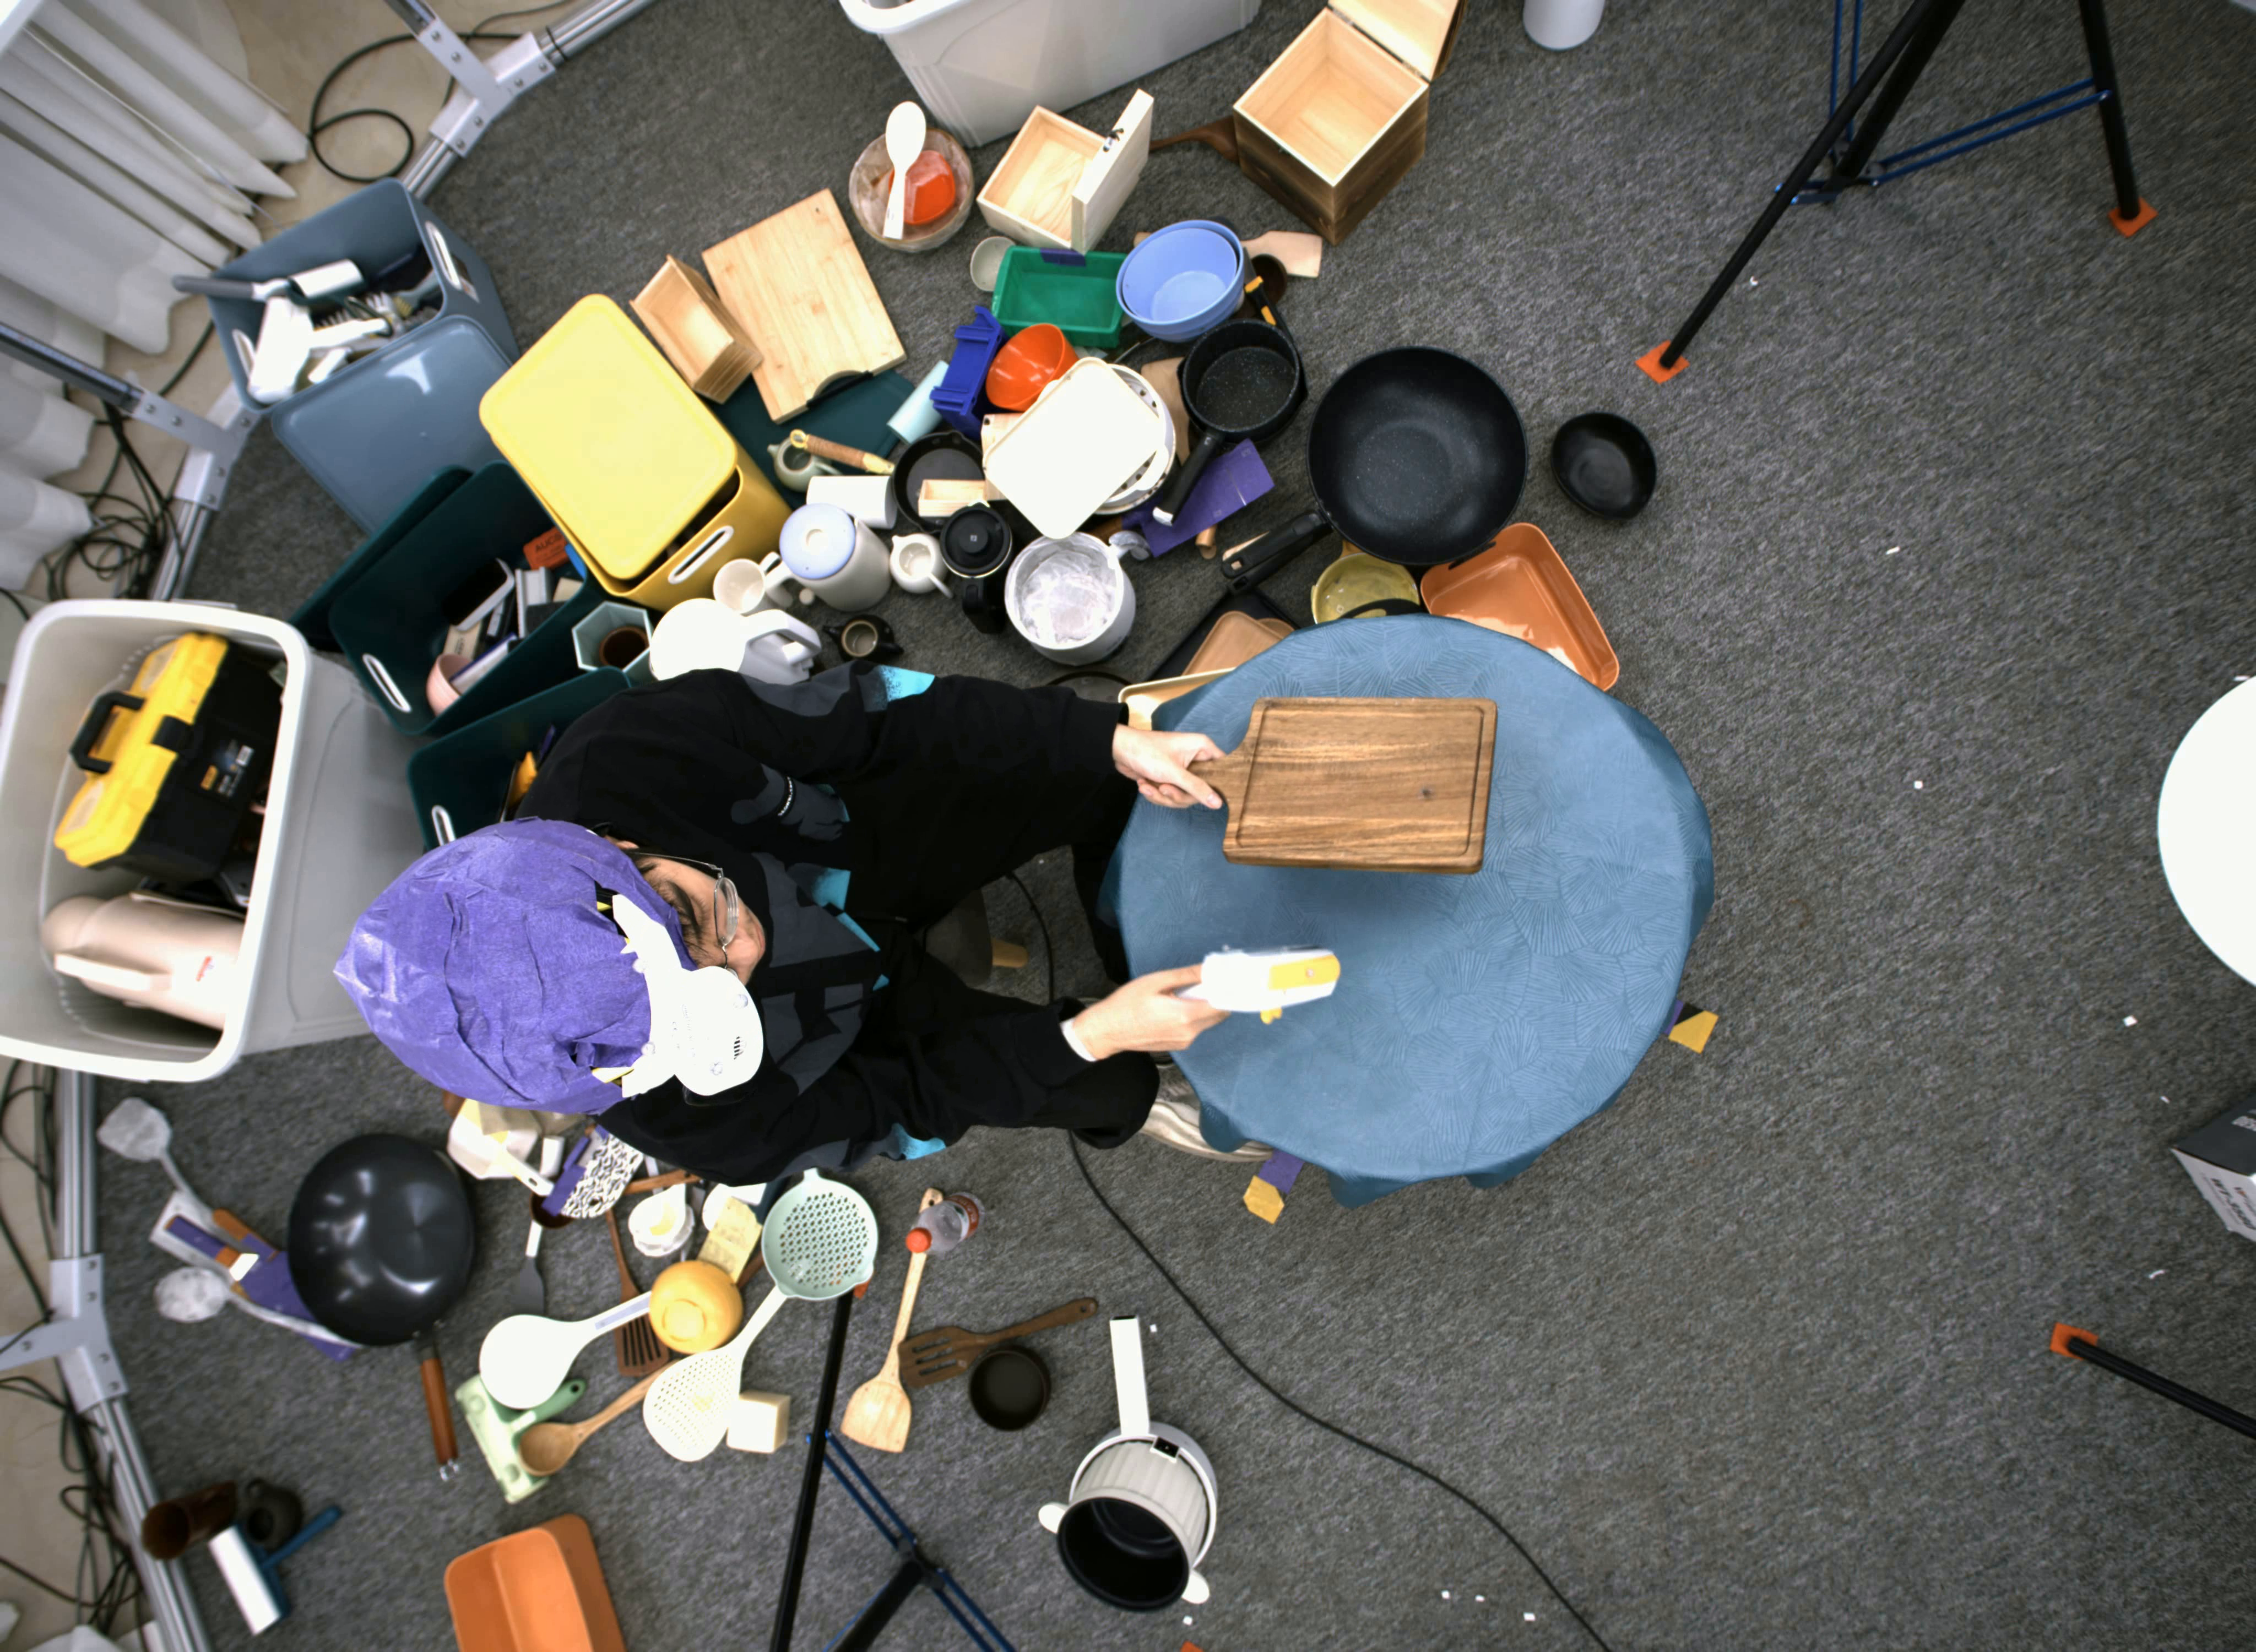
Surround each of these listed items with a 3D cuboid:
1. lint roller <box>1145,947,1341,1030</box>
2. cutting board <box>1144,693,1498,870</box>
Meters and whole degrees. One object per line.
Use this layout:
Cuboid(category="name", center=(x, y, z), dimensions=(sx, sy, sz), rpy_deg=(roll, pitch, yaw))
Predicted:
Cuboid(category="lint roller", center=(0.095, 0.163, 1.371), dimensions=(0.194, 0.190, 0.074), rpy_deg=(-7, 93, 38))
Cuboid(category="cutting board", center=(0.185, -0.048, 1.372), dimensions=(0.354, 0.023, 0.196), rpy_deg=(1, 60, 21))
